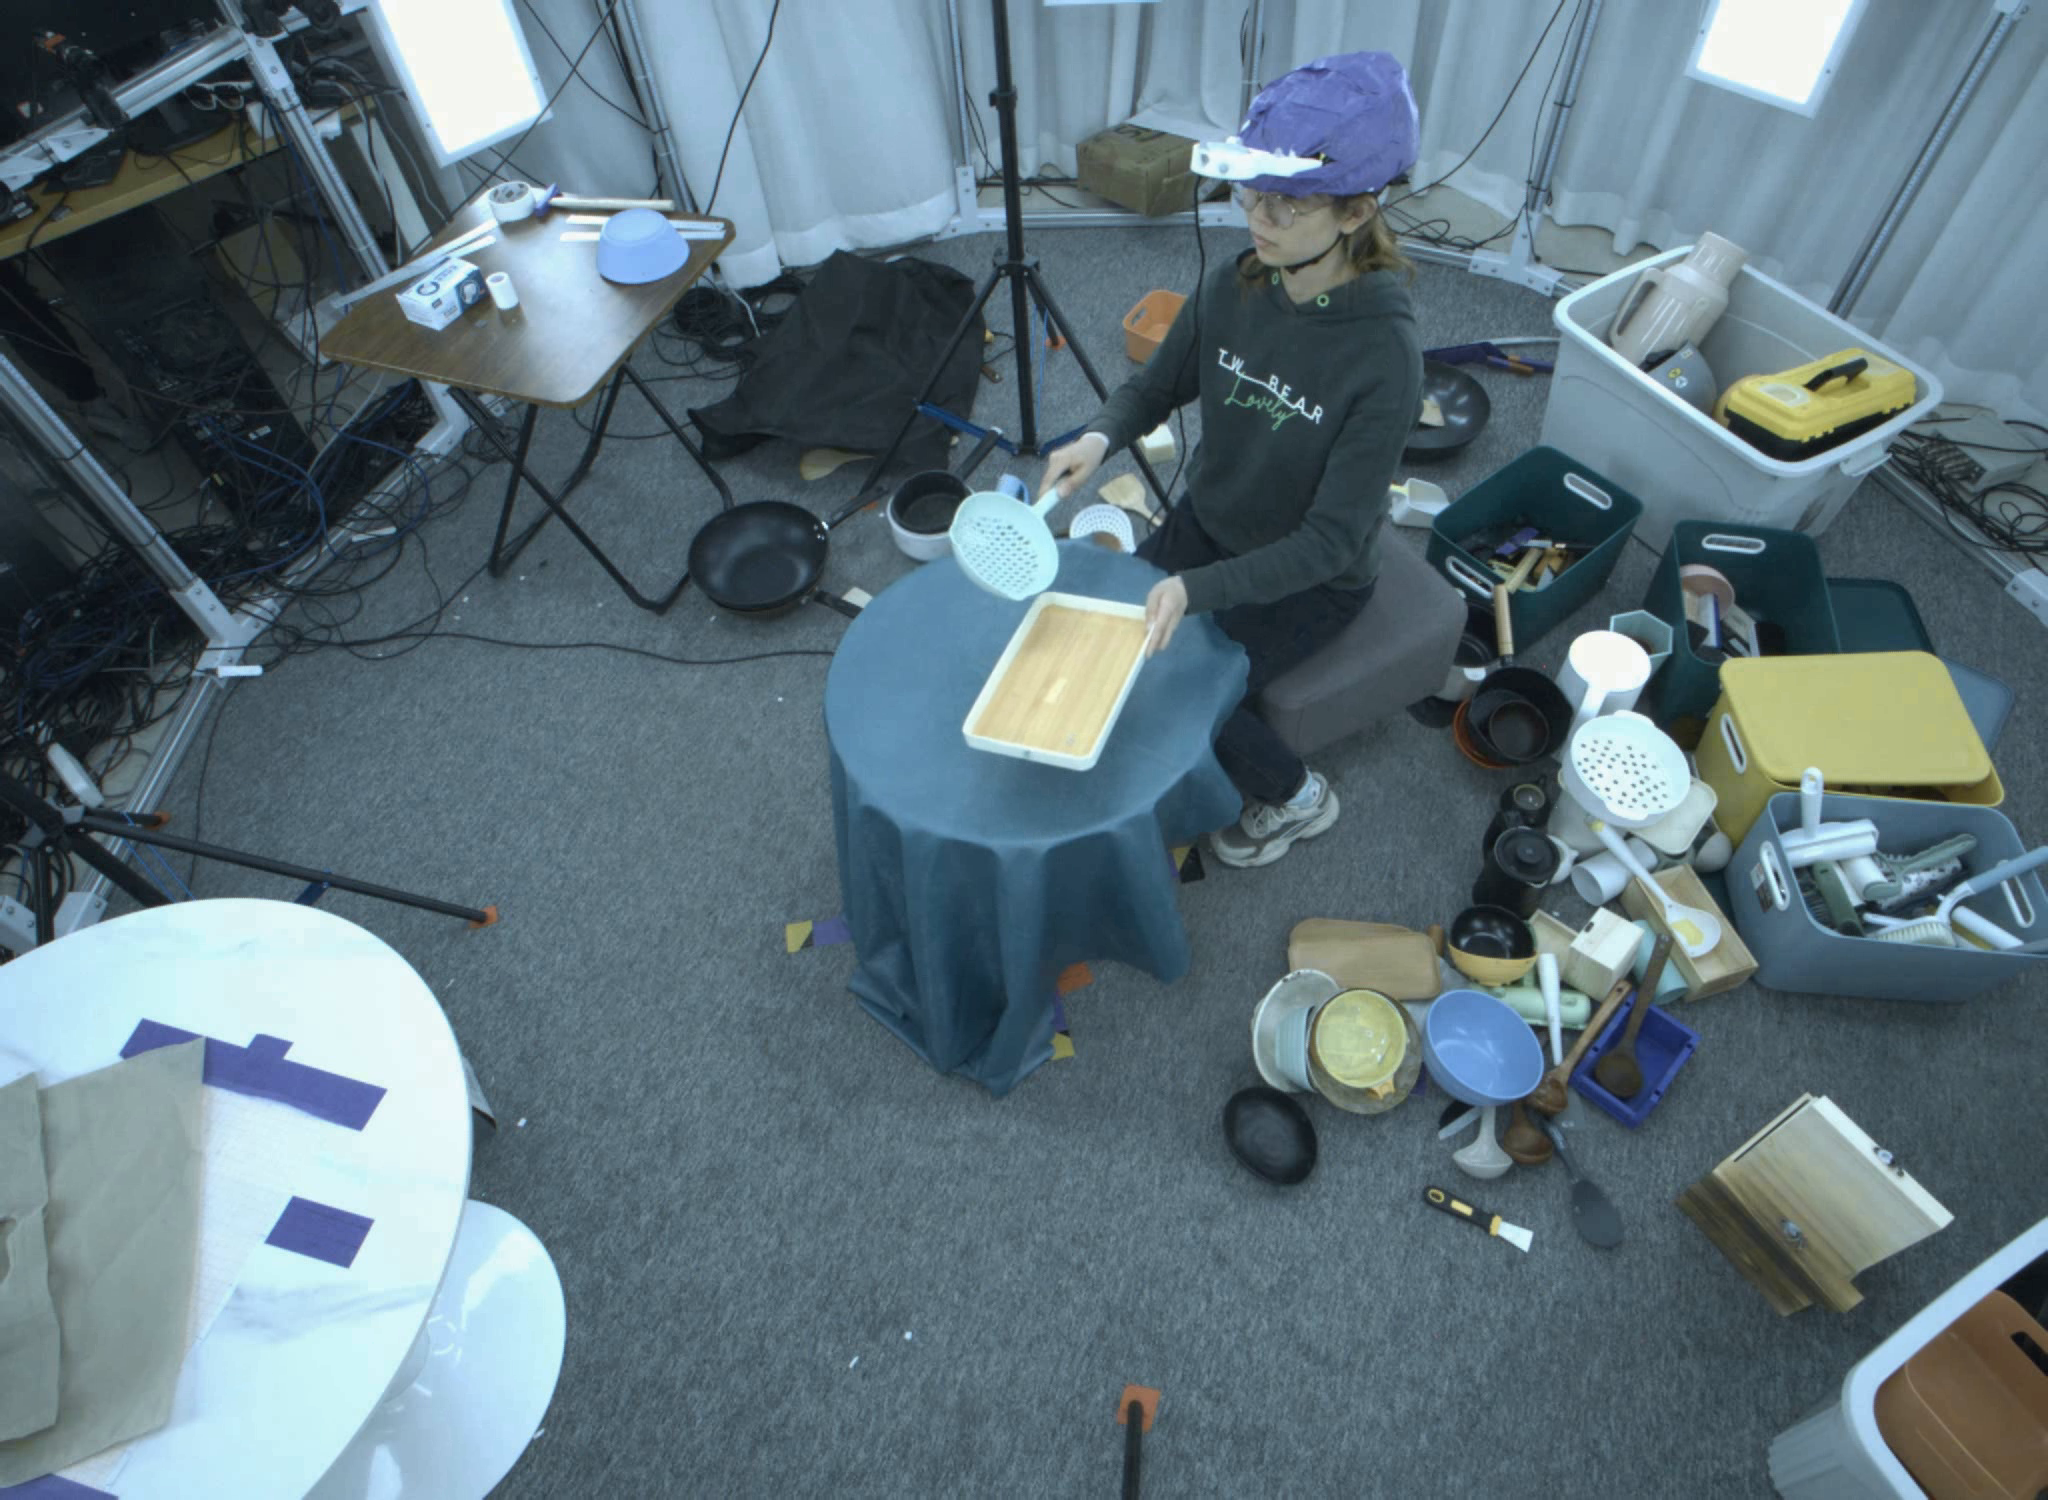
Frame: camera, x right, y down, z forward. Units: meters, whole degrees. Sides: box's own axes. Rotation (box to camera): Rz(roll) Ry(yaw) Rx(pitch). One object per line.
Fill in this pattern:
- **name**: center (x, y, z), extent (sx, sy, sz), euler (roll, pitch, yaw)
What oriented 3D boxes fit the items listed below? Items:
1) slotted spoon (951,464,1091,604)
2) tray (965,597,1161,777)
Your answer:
- **slotted spoon**: center (0.018, -0.343, 1.805), extent (0.170, 0.074, 0.360), euler (45, 57, -9)
- **tray**: center (0.059, -0.095, 1.709), extent (0.189, 0.028, 0.300), euler (13, 53, 19)
